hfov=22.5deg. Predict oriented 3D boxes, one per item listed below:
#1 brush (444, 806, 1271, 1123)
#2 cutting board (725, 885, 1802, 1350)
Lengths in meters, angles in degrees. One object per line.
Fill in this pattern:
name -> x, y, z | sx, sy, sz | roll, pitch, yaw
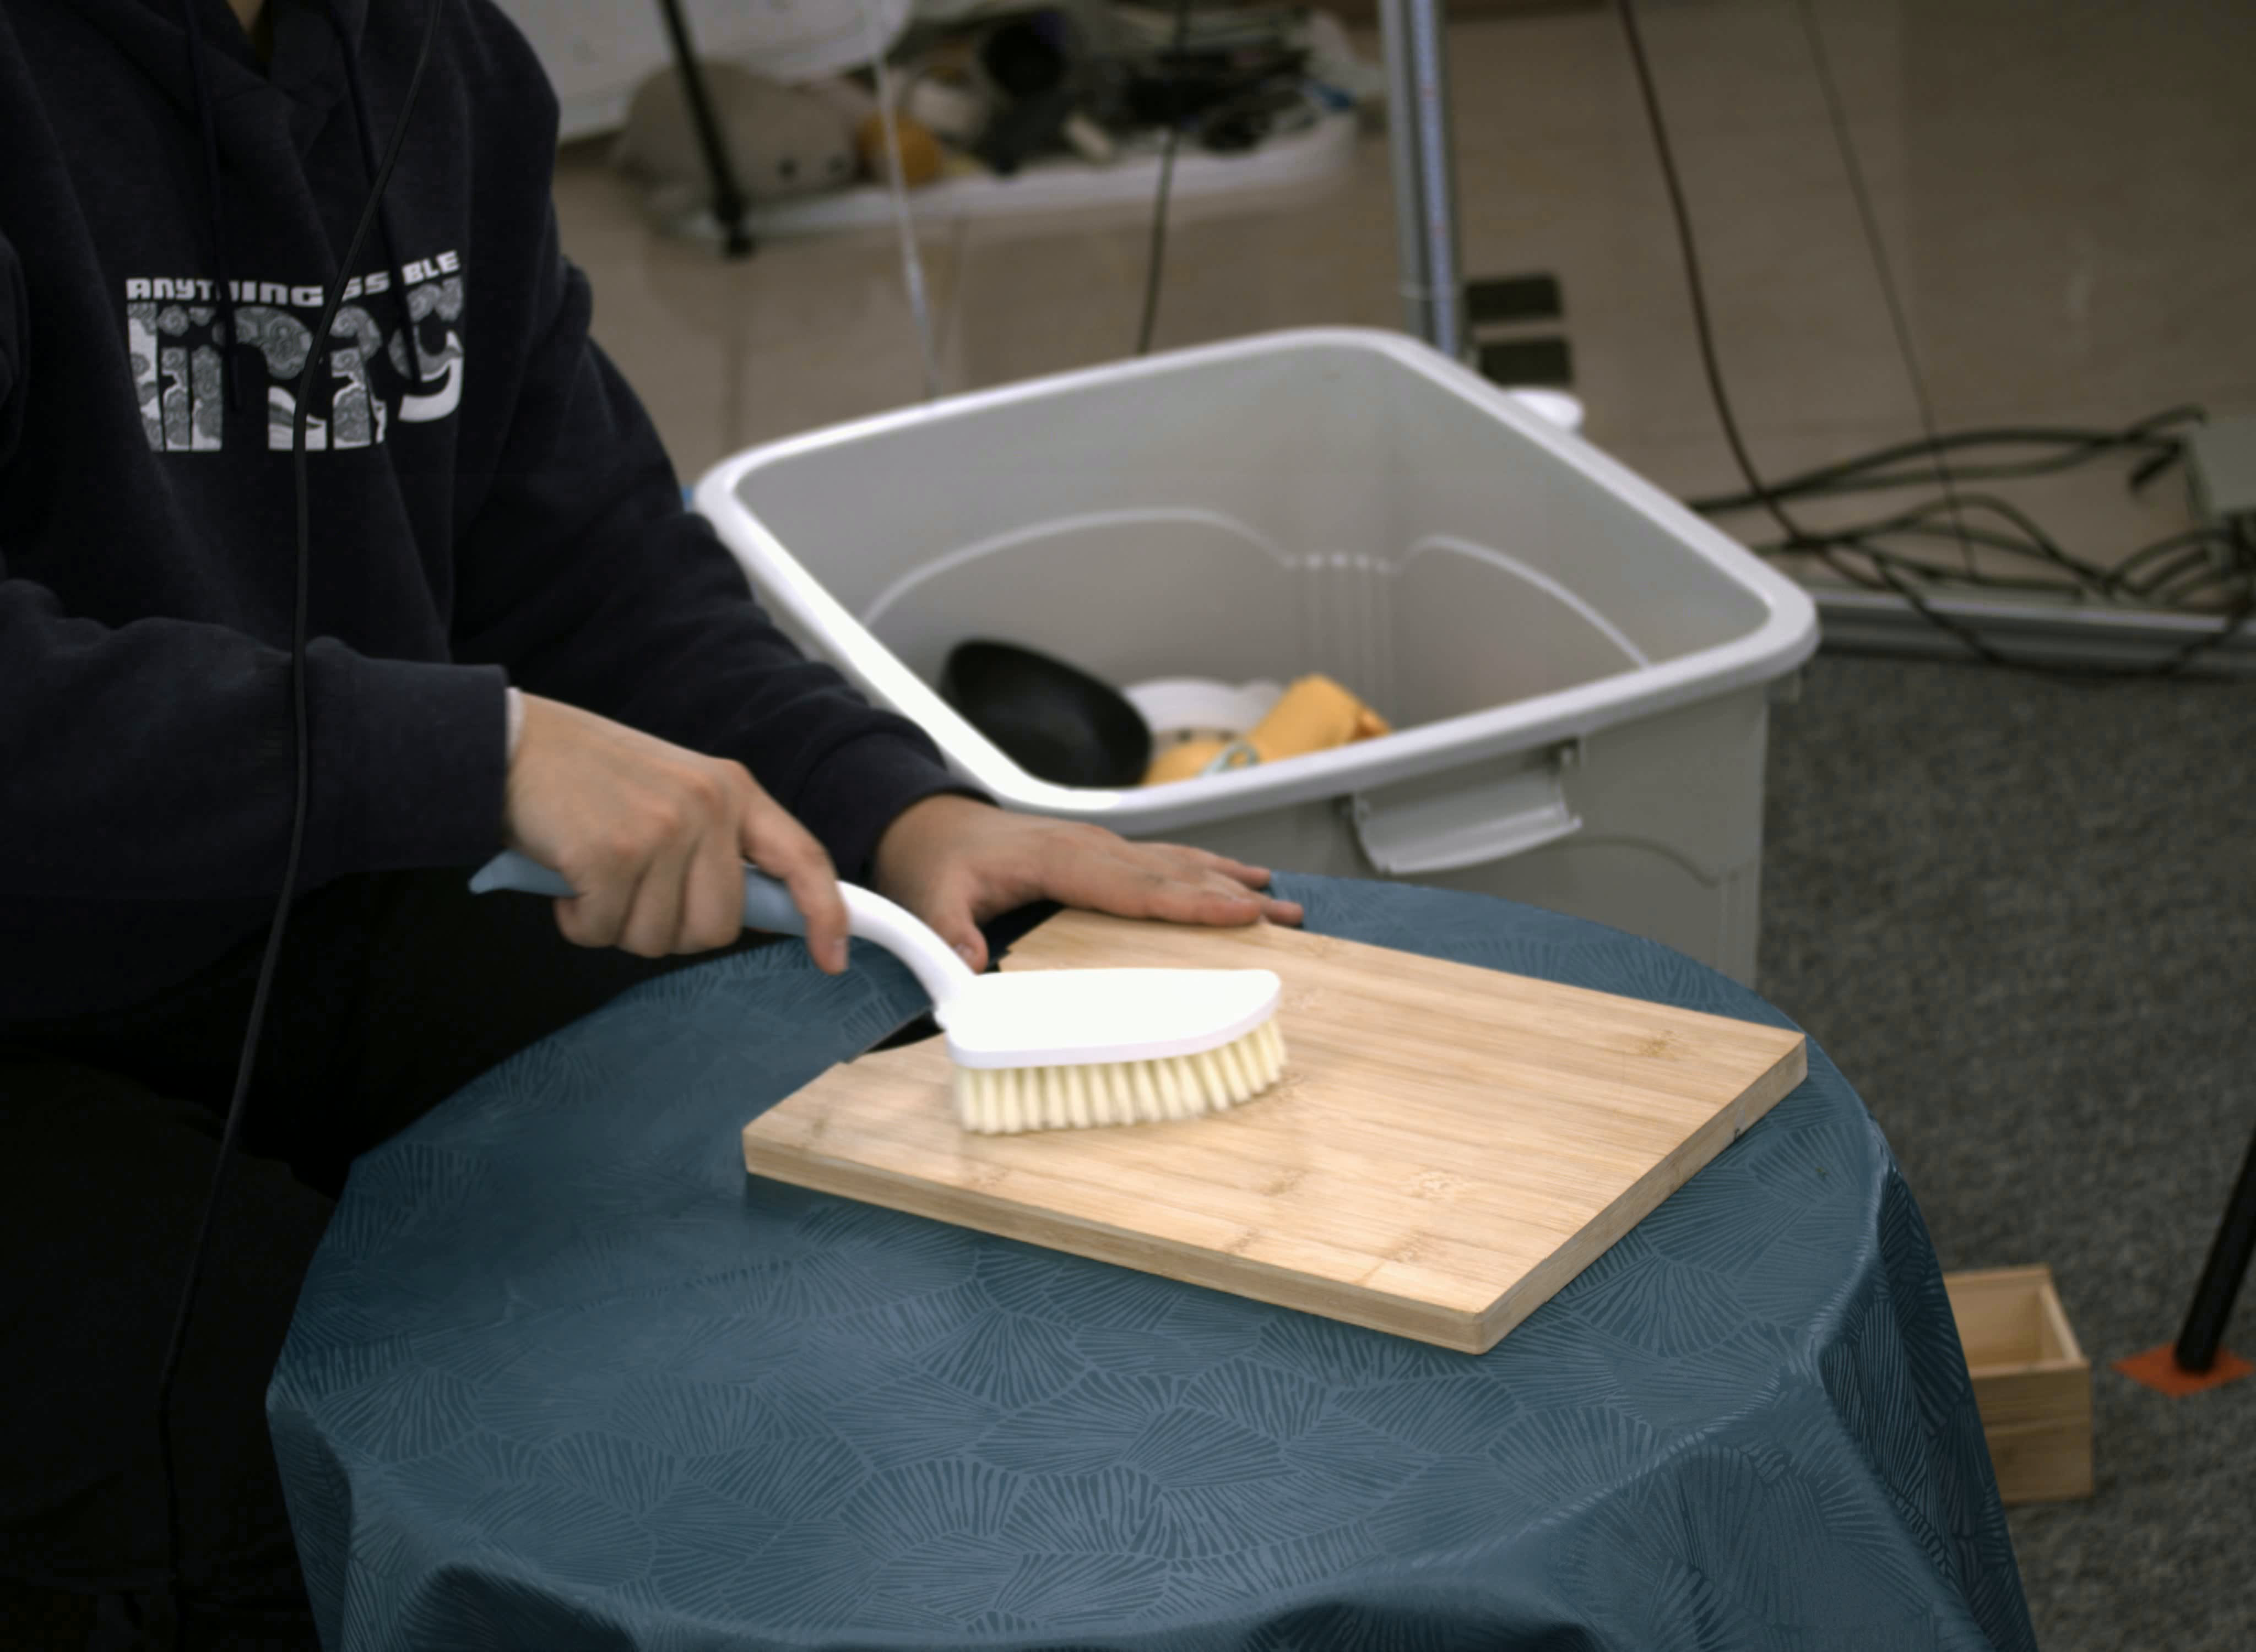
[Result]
brush -> -0.105, 0.063, 2.174 | 0.325, 0.084, 0.083 | 10, -8, -5
cutting board -> 0.051, 0.106, 2.187 | 0.347, 0.024, 0.248 | 11, 29, 33
